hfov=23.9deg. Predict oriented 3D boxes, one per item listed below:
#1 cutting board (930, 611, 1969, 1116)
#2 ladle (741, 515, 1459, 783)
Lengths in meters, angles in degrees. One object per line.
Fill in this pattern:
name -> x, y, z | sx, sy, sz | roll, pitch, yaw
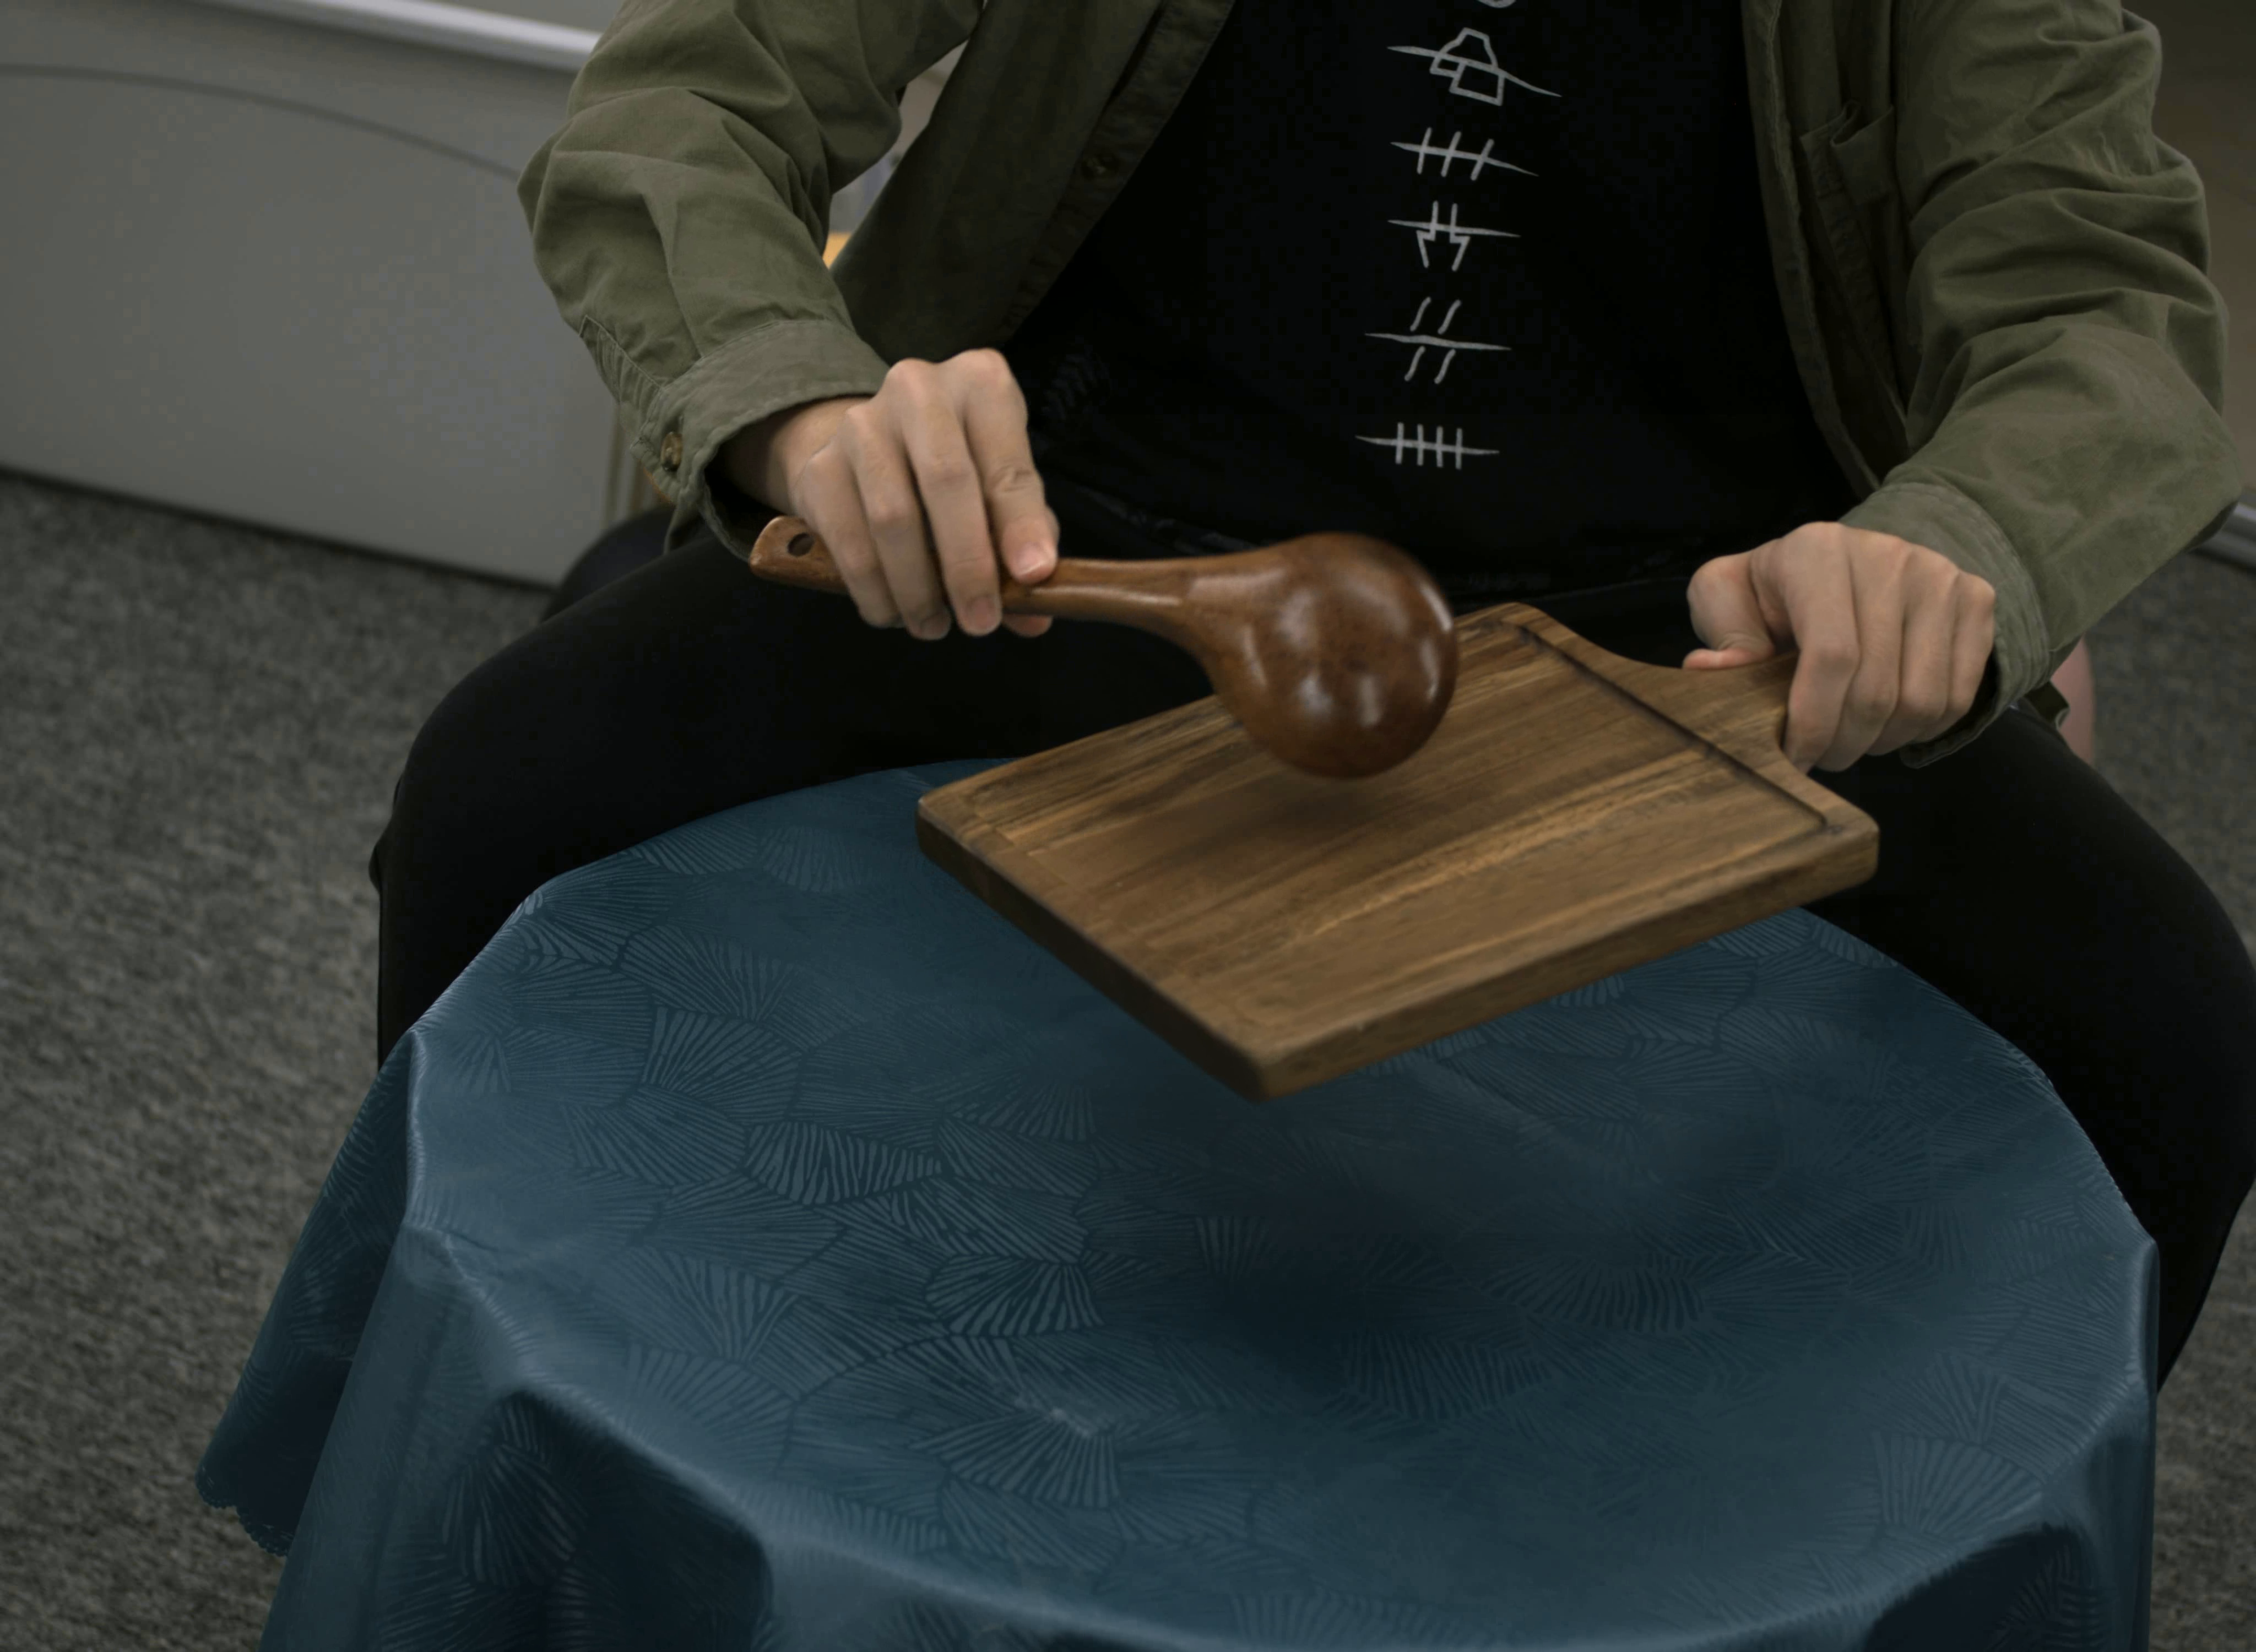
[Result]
cutting board -> 0.132, -0.007, 1.721 | 0.350, 0.023, 0.203 | -17, 33, -27
ladle -> -0.010, -0.068, 1.772 | 0.275, 0.076, 0.082 | 8, 61, 42
